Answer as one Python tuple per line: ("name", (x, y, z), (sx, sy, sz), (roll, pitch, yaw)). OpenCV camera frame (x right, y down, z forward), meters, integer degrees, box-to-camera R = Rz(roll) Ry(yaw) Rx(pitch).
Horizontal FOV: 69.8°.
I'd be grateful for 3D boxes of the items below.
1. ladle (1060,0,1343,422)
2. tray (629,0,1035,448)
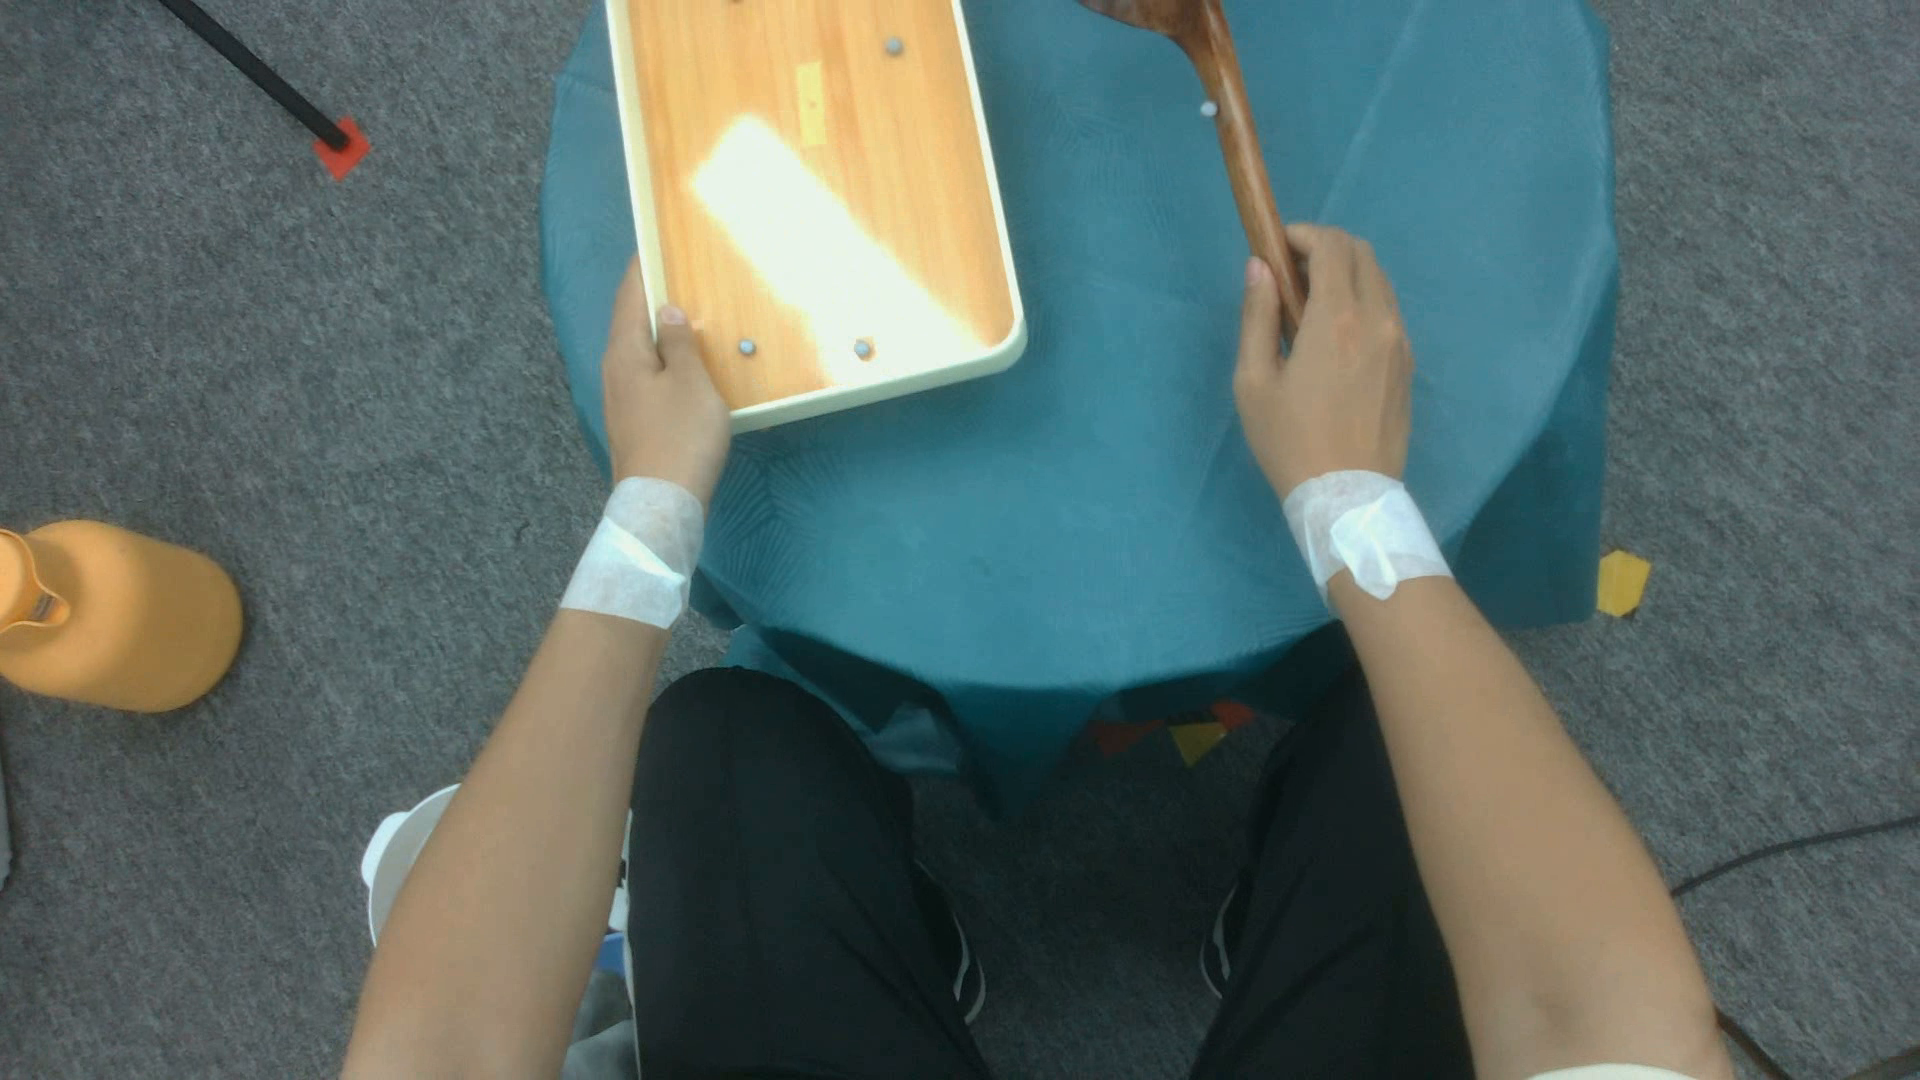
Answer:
("ladle", (0.118, -0.184, 0.697), (0.077, 0.082, 0.274), (-16, 85, -10))
("tray", (-0.075, -0.208, 0.753), (0.191, 0.027, 0.301), (-11, 73, 7))
